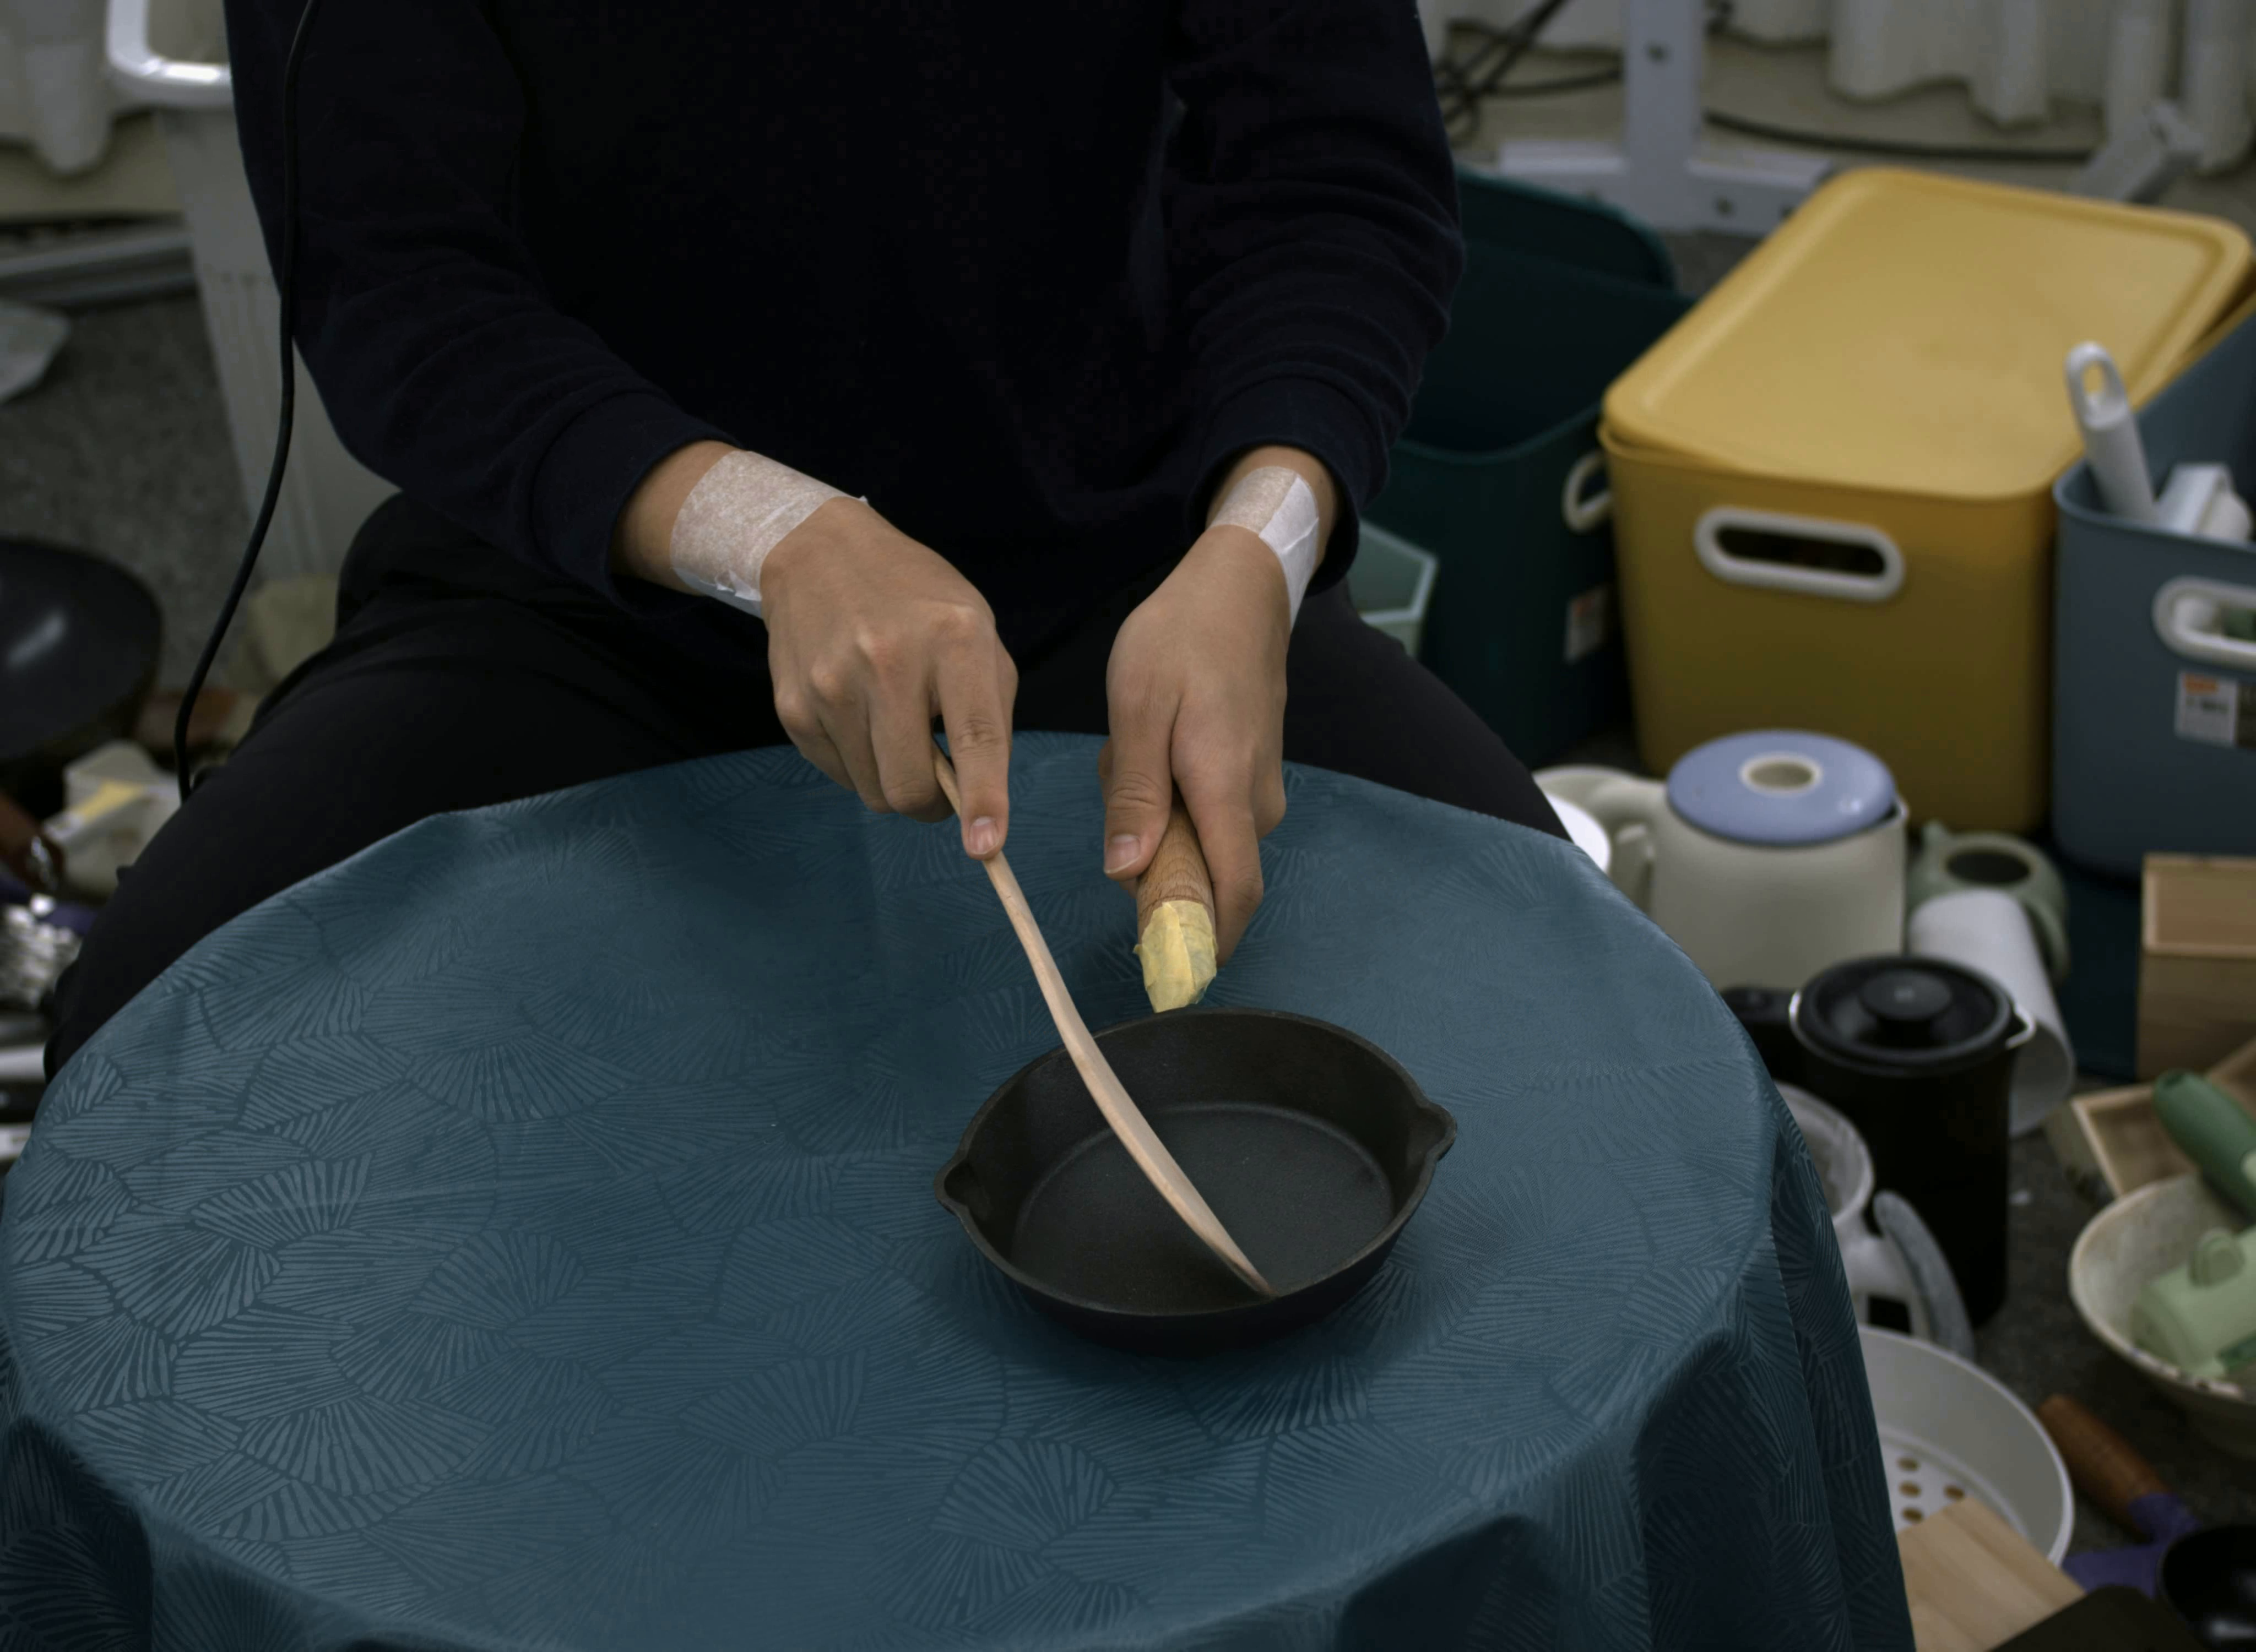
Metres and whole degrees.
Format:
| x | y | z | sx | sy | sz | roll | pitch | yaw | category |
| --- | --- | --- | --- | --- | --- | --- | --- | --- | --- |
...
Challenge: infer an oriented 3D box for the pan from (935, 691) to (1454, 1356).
| x | y | z | sx | sy | sz | roll | pitch | yaw | category |
| --- | --- | --- | --- | --- | --- | --- | --- | --- | --- |
| 0.021 | 0.063 | 1.881 | 0.168 | 0.049 | 0.330 | -5 | 35 | 3 | pan |

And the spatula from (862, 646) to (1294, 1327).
| x | y | z | sx | sy | sz | roll | pitch | yaw | category |
| --- | --- | --- | --- | --- | --- | --- | --- | --- | --- |
| -0.023 | 0.045 | 1.849 | 0.016 | 0.079 | 0.332 | -35 | 48 | 5 | spatula |
